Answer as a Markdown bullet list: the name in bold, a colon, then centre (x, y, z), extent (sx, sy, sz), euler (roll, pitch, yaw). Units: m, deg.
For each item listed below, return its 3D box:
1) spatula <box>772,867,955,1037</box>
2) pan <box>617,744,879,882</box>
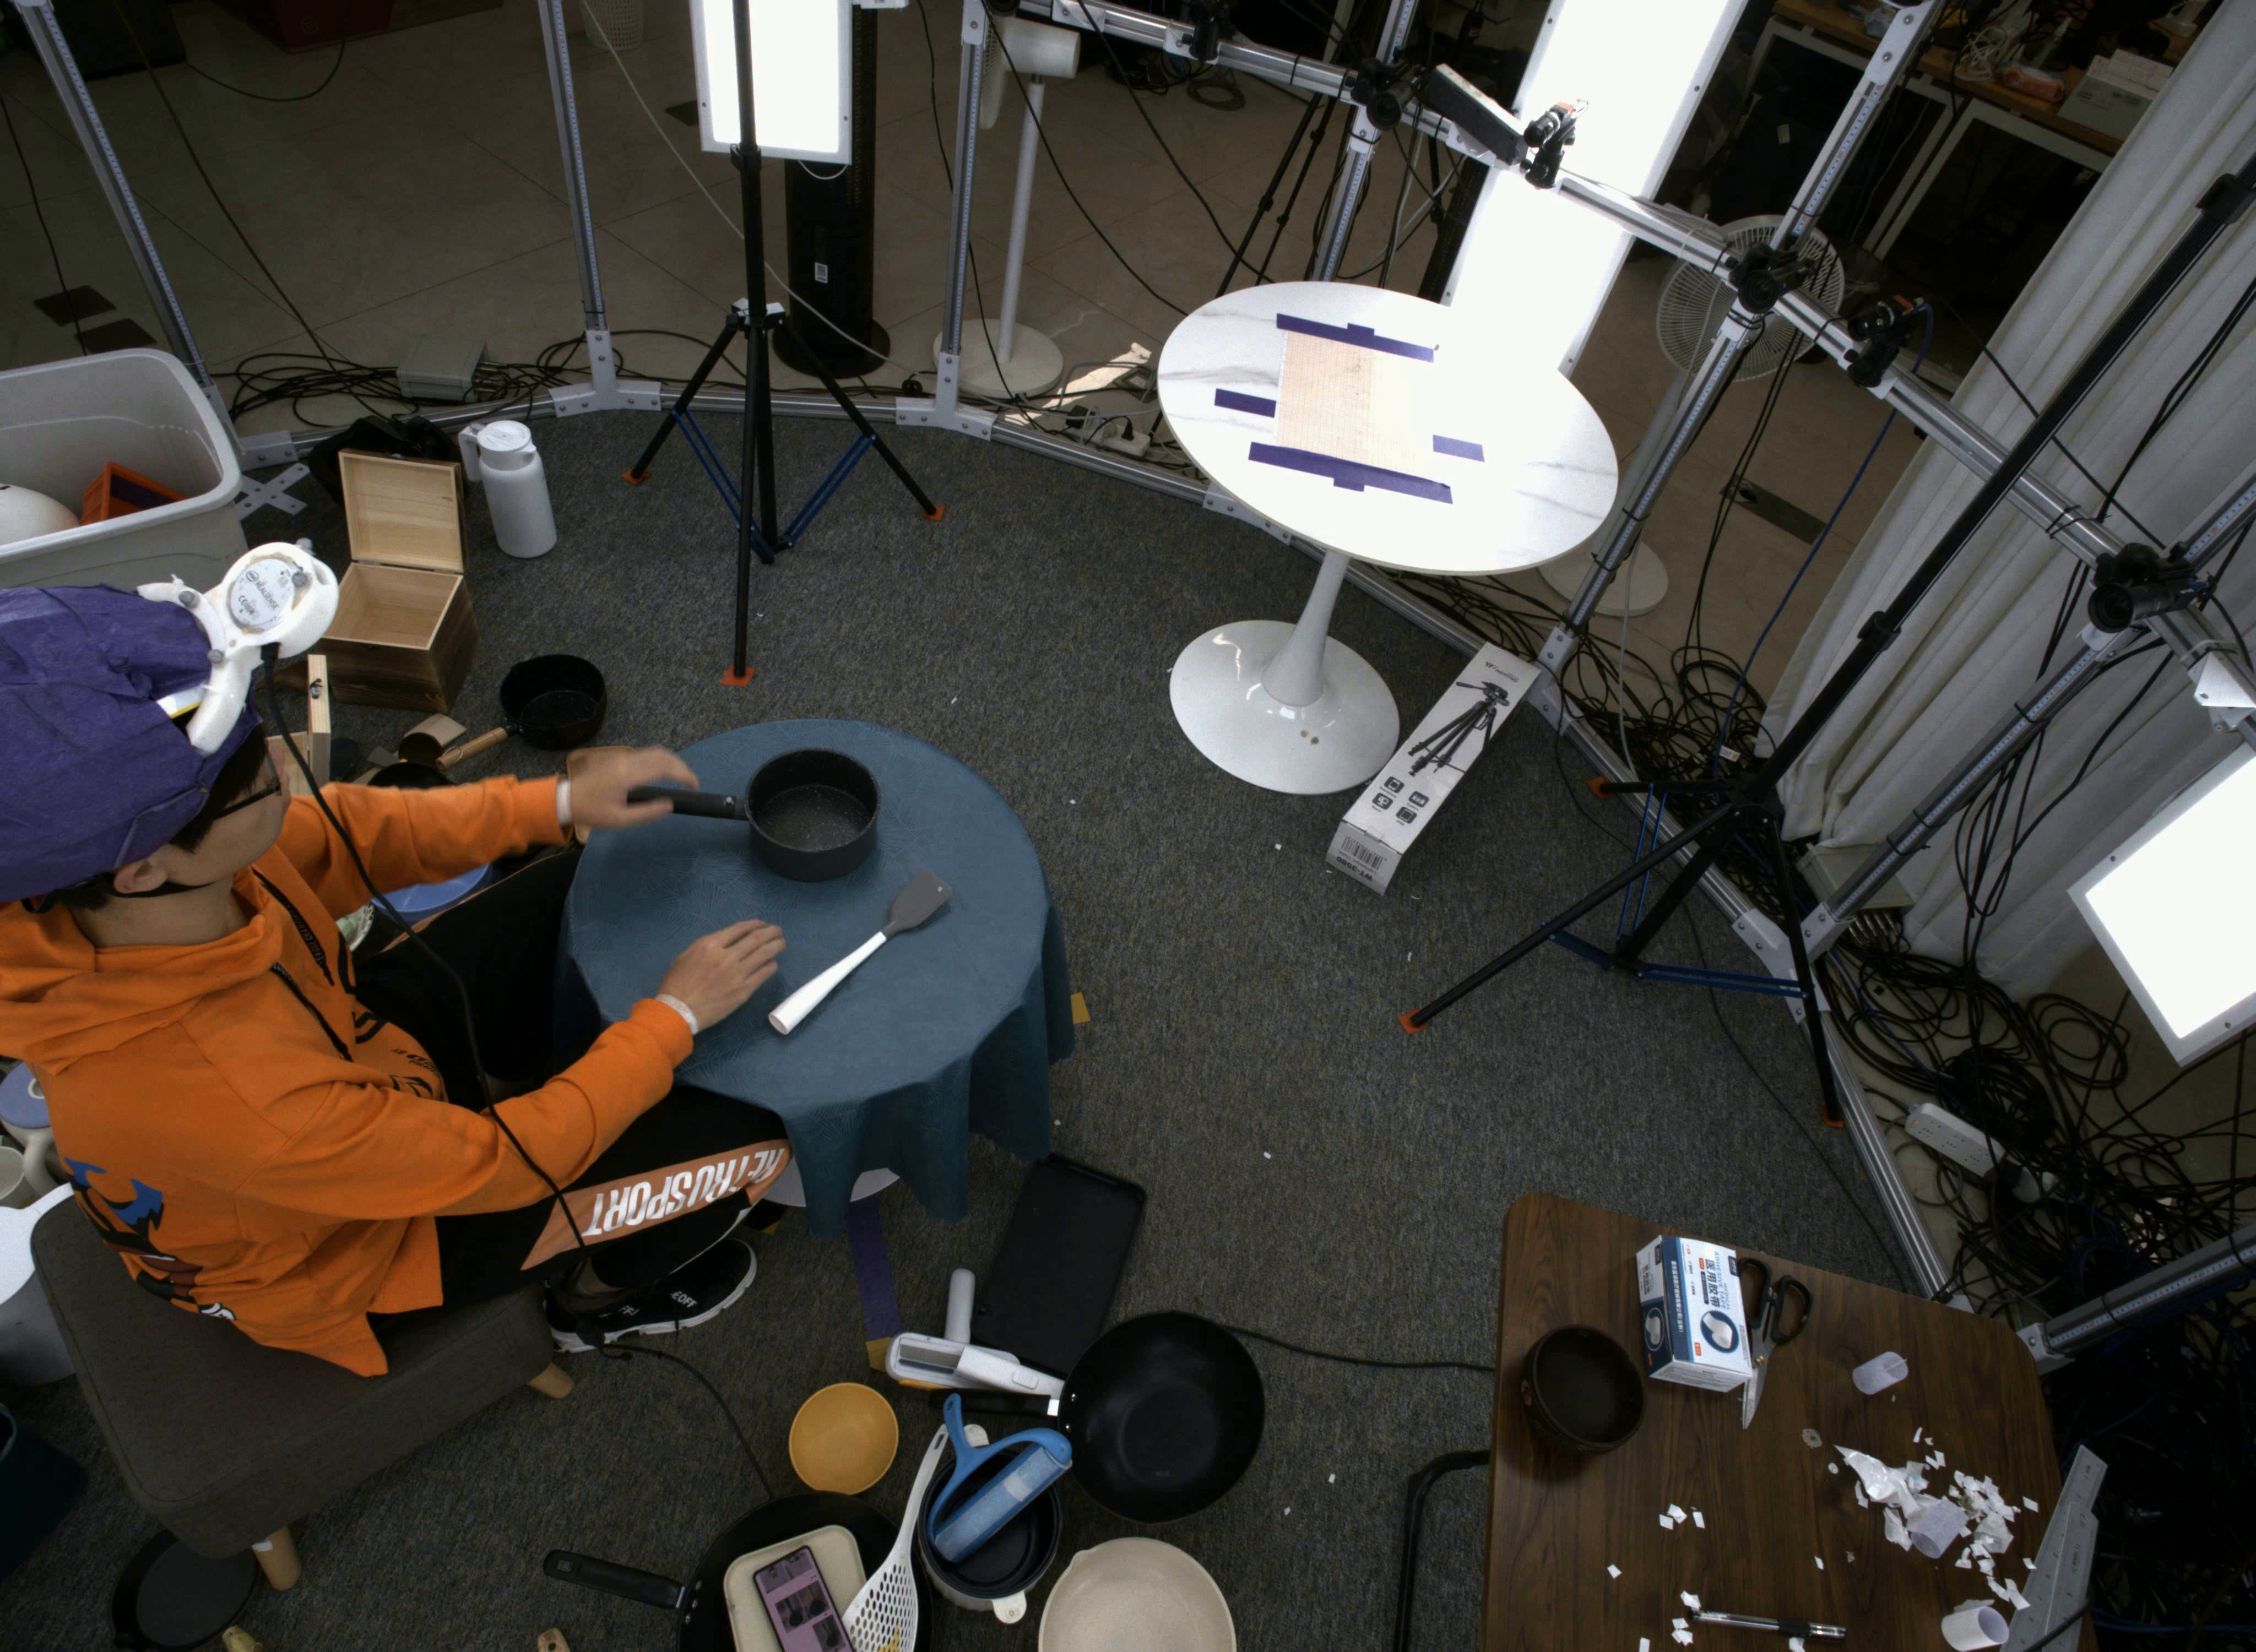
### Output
- **spatula**: centre (-0.325, 0.151, 1.606), extent (0.057, 0.033, 0.287), euler (35, 54, 14)
- **pan**: centre (-0.486, -0.020, 1.657), extent (0.329, 0.088, 0.168), euler (3, 52, -15)
